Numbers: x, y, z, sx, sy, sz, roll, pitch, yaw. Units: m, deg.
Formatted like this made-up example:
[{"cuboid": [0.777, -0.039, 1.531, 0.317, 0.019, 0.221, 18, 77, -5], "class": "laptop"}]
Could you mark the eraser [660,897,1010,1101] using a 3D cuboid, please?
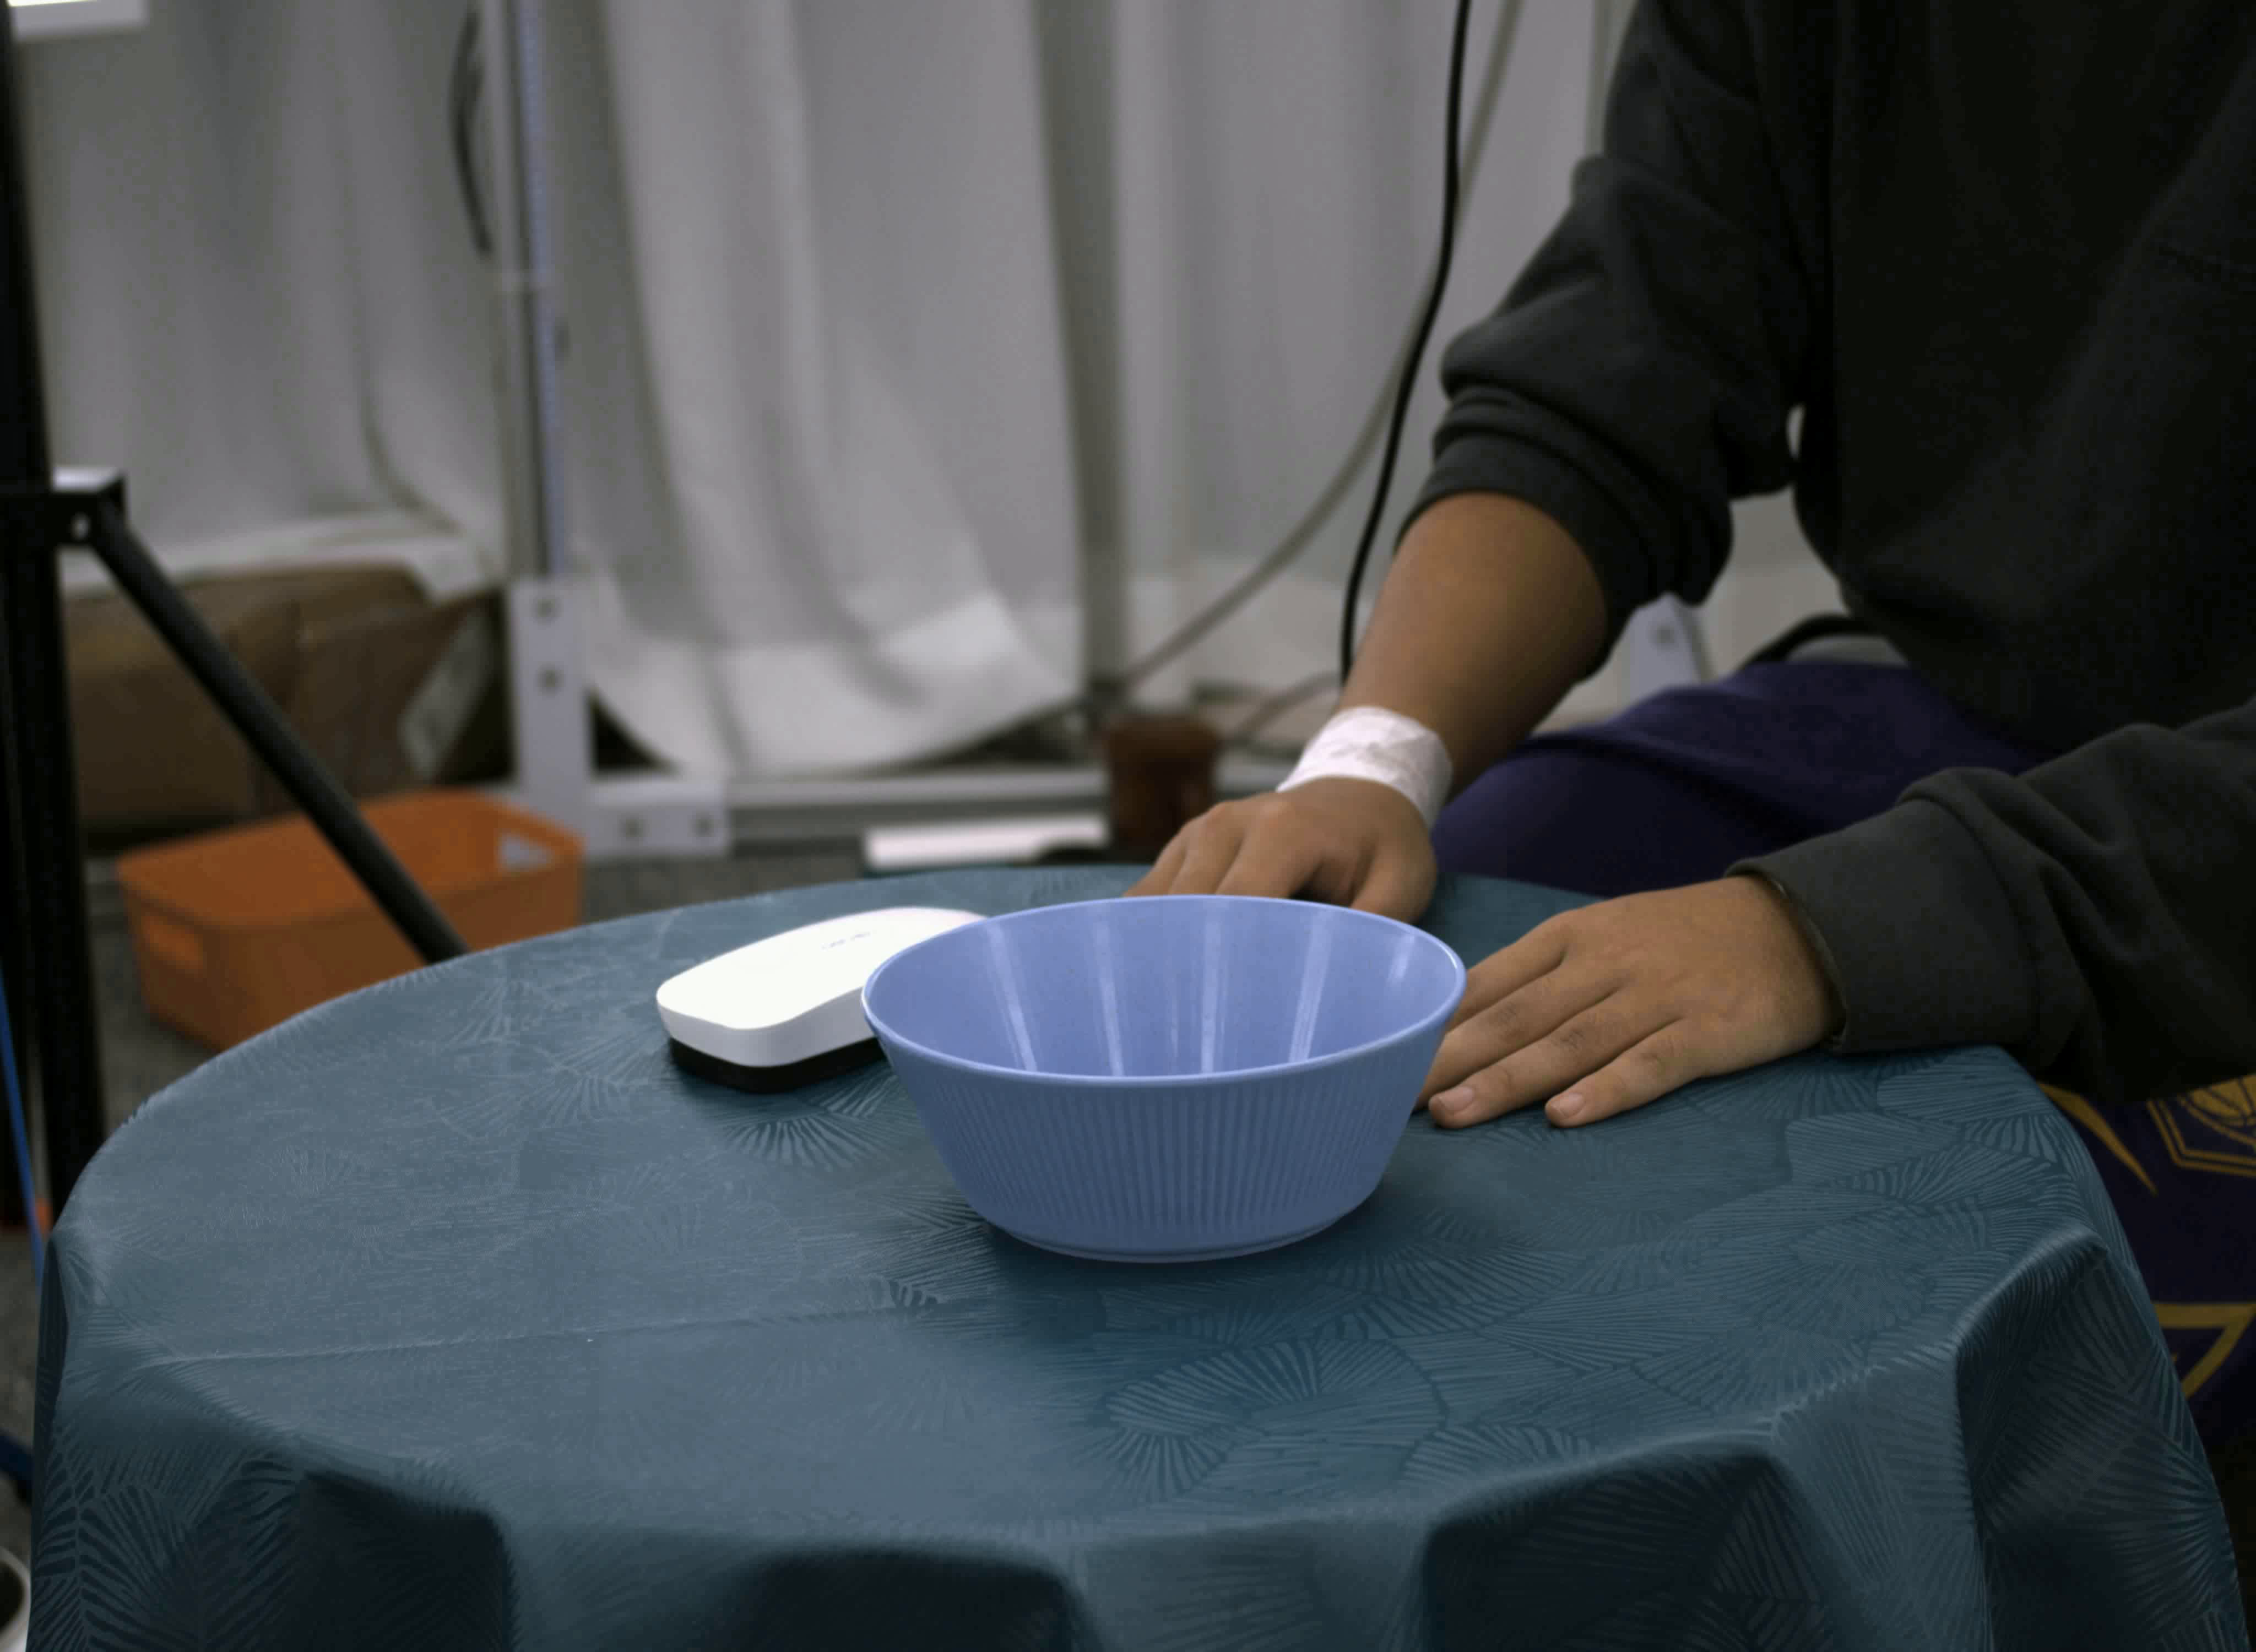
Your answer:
[{"cuboid": [-0.086, 0.052, 1.713, 0.128, 0.034, 0.065, -18, 23, -38], "class": "eraser"}]

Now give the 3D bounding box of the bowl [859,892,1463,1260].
[{"cuboid": [0.010, 0.075, 1.544, 0.175, 0.070, 0.177, -2, 16, -1], "class": "bowl"}]
